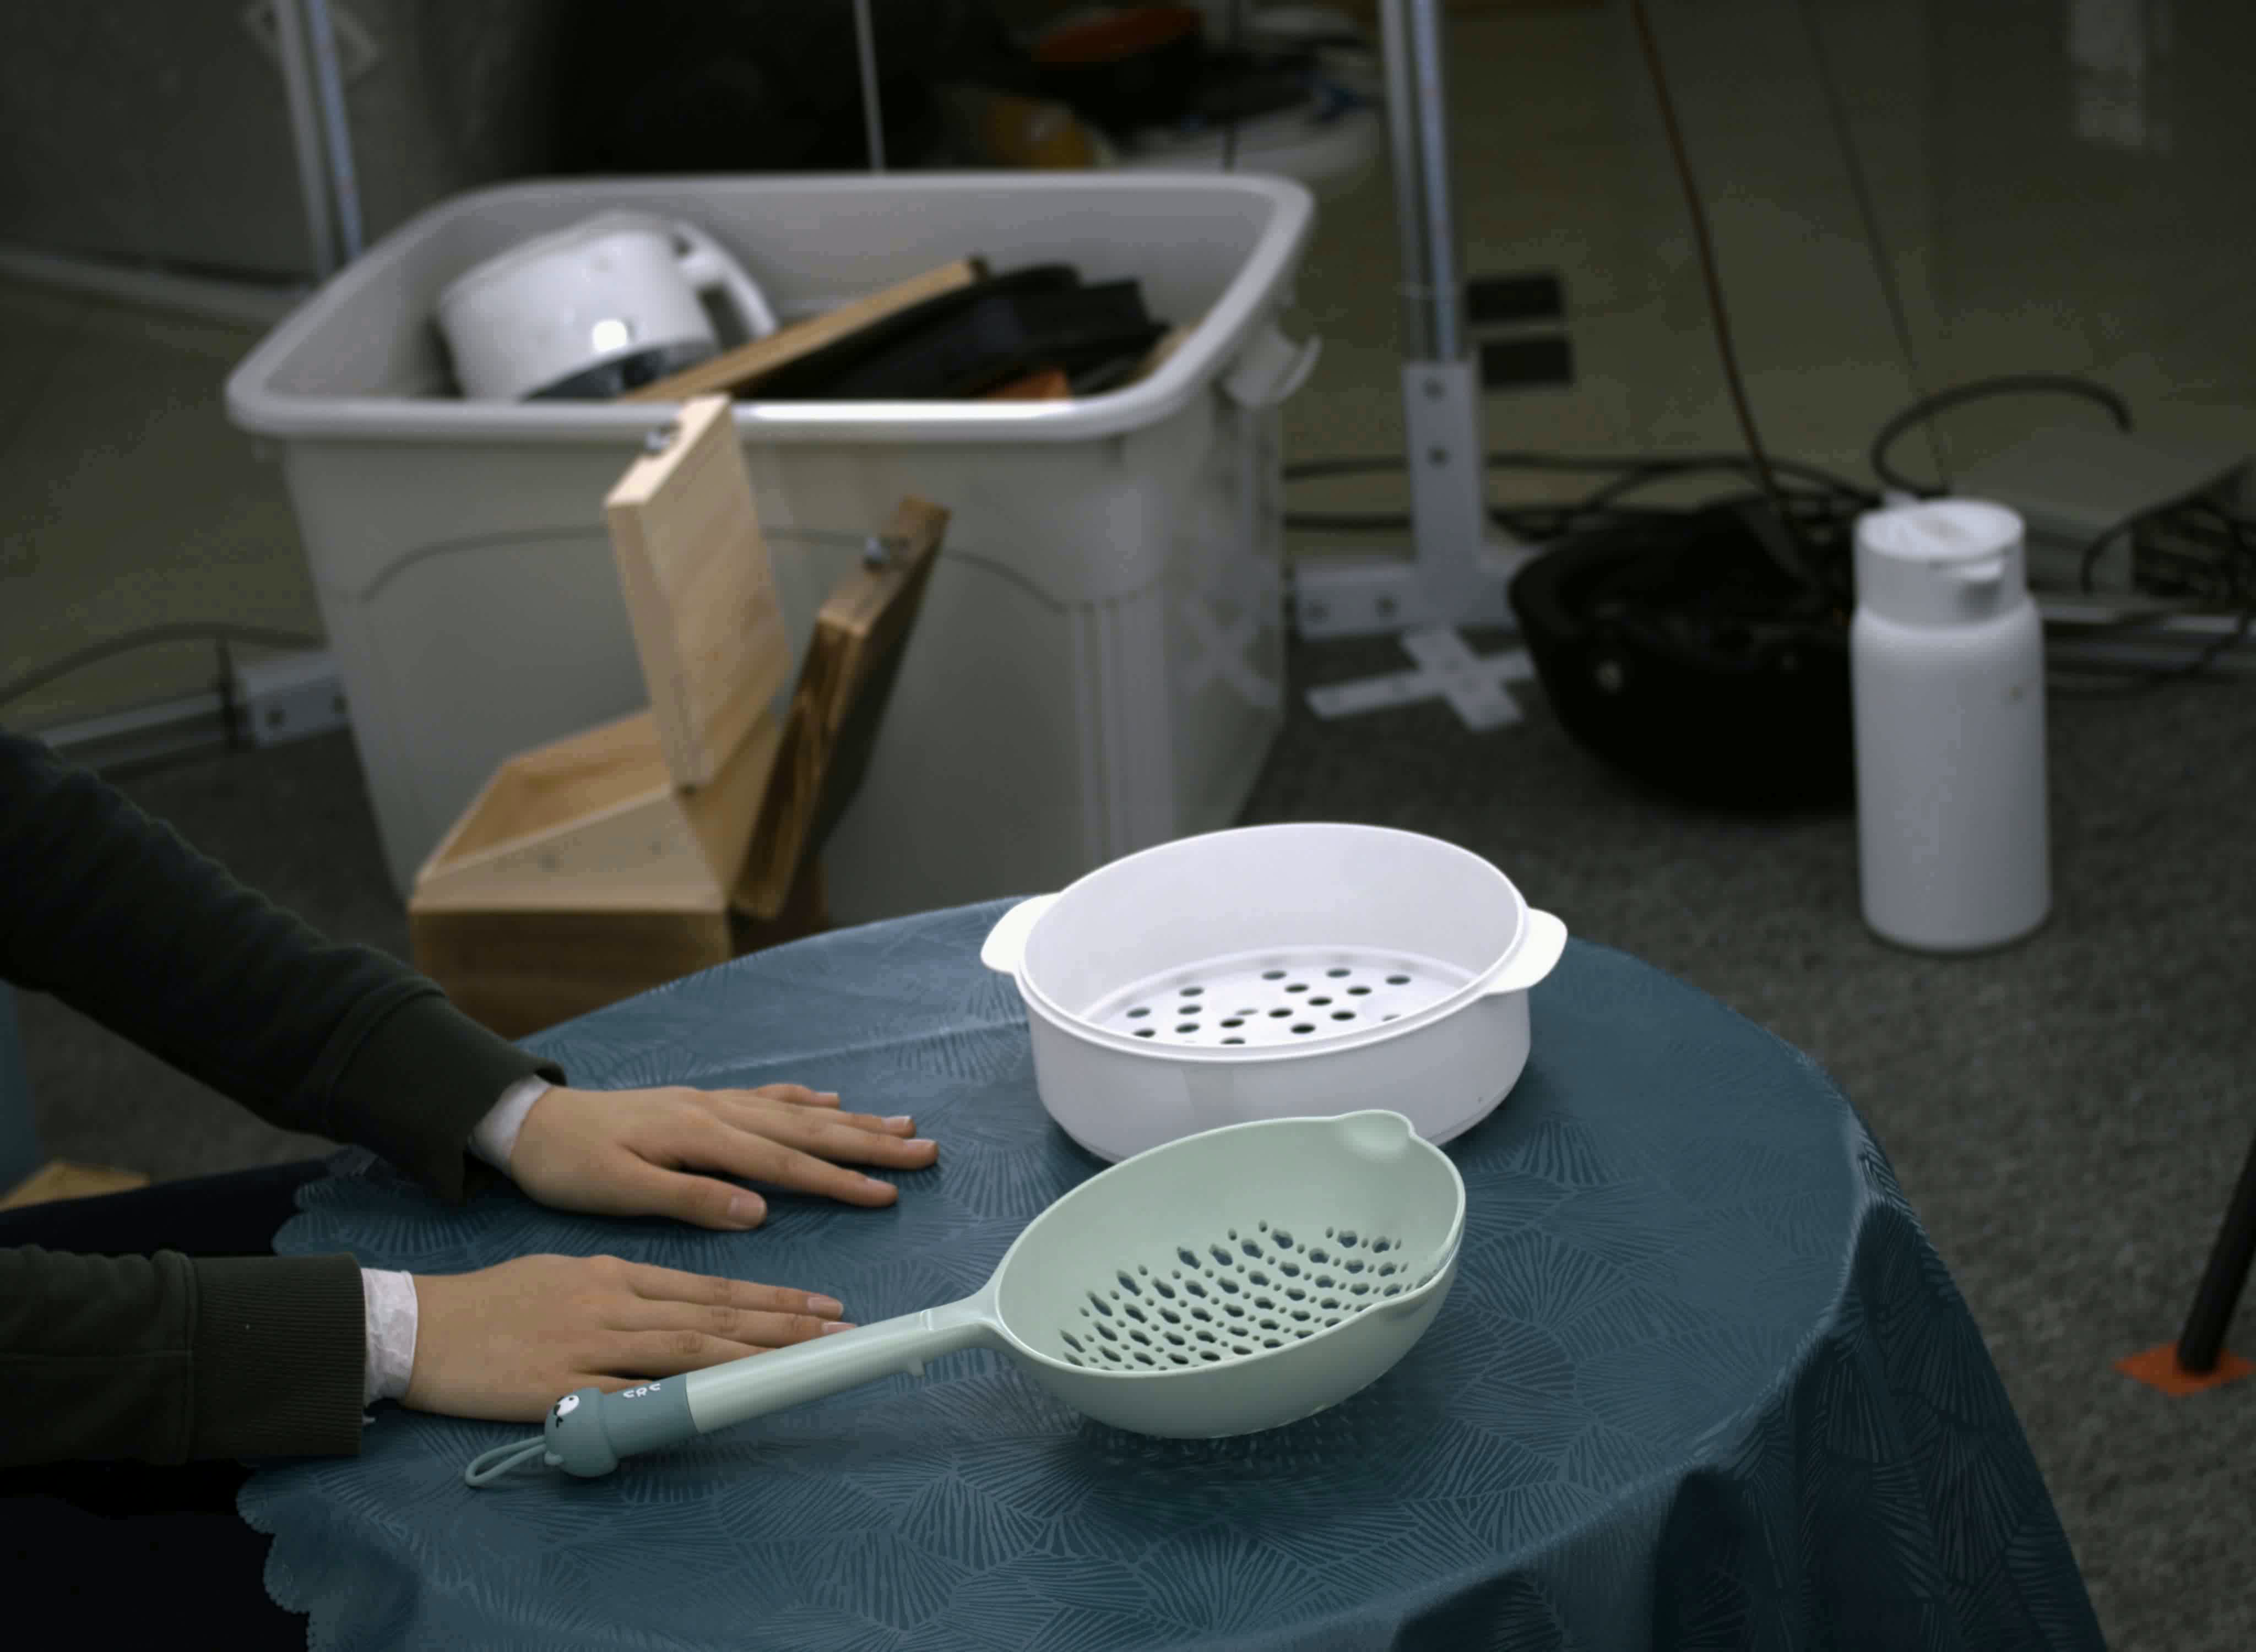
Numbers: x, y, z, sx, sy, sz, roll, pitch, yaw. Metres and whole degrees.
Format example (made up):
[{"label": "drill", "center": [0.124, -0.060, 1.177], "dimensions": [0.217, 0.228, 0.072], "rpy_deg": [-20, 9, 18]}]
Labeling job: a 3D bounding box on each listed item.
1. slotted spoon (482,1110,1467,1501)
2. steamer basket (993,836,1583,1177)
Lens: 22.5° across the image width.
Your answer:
[{"label": "slotted spoon", "center": [-0.056, 0.182, 1.999], "dimensions": [0.358, 0.076, 0.167], "rpy_deg": [-7, 24, -1]}, {"label": "steamer basket", "center": [0.064, 0.073, 2.203], "dimensions": [0.230, 0.070, 0.199], "rpy_deg": [1, 25, 17]}]
